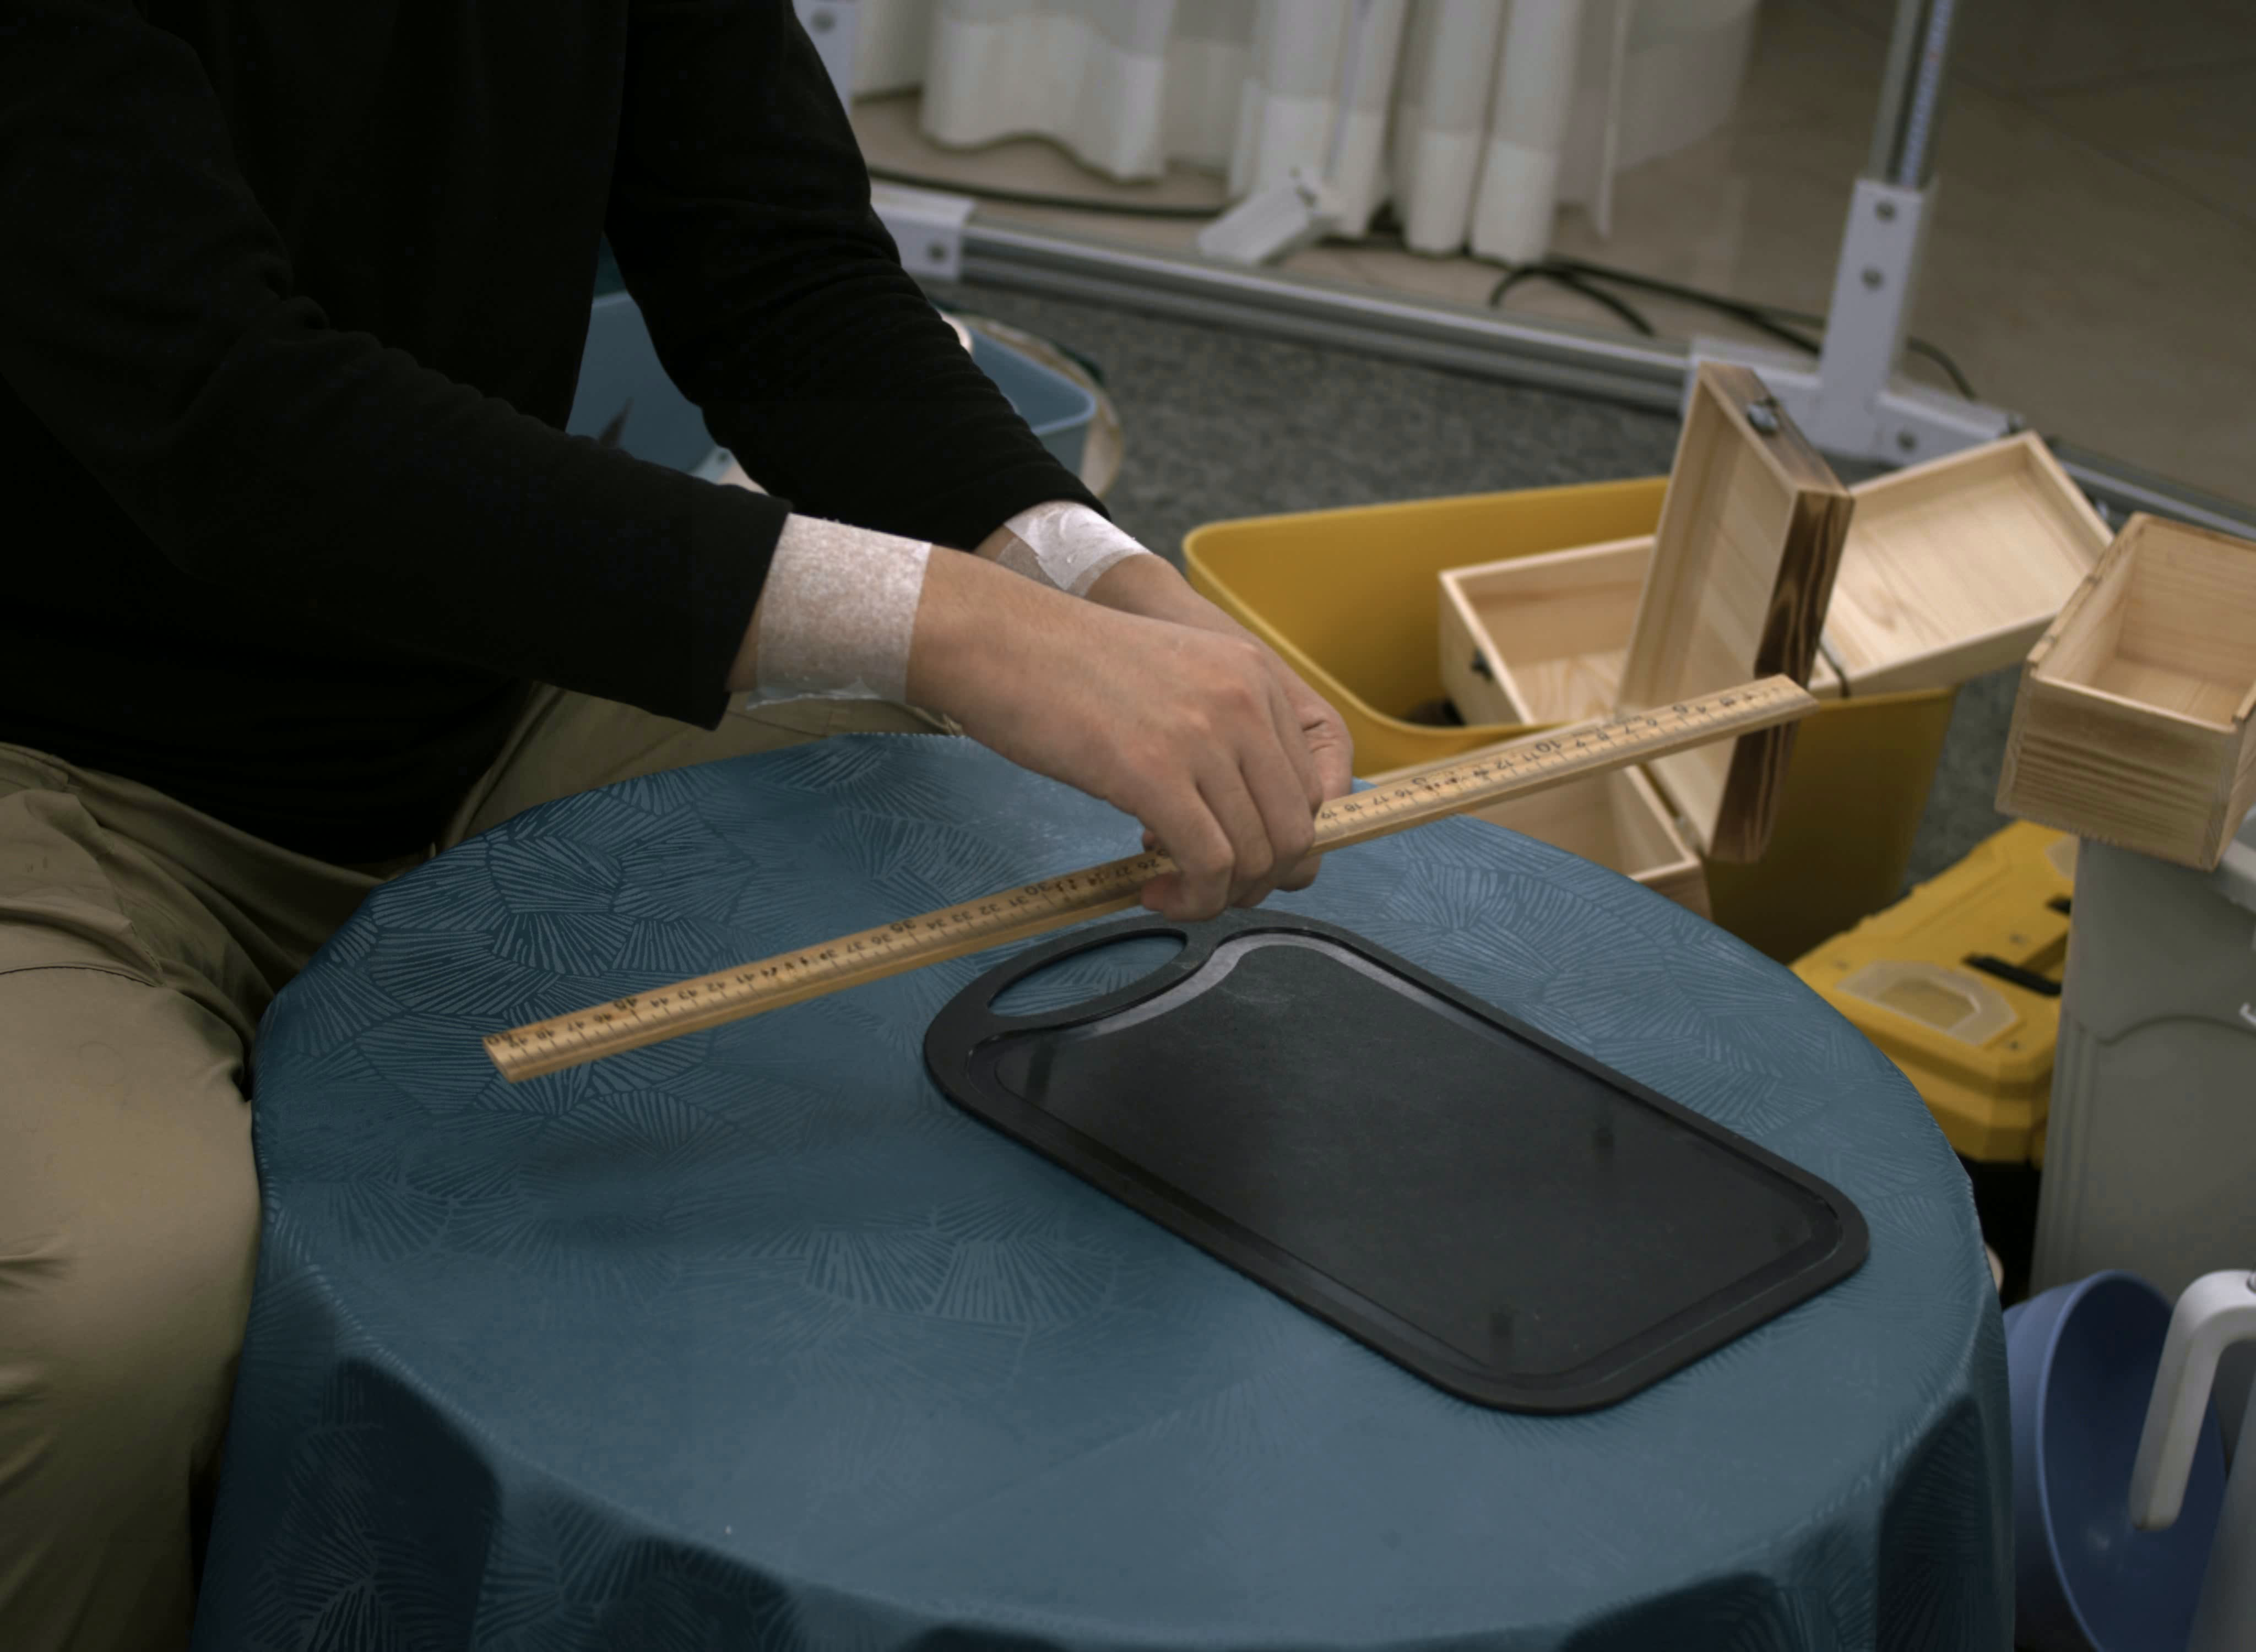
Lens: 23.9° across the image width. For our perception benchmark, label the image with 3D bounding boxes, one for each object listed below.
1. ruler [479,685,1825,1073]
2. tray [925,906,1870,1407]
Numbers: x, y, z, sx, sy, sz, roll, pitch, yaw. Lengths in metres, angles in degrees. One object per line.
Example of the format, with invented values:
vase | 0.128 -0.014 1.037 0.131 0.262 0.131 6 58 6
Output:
ruler | 0.017 0.014 1.819 0.498 0.006 0.027 -15 30 -20
tray | 0.085 0.105 1.849 0.328 0.010 0.210 28 34 36
